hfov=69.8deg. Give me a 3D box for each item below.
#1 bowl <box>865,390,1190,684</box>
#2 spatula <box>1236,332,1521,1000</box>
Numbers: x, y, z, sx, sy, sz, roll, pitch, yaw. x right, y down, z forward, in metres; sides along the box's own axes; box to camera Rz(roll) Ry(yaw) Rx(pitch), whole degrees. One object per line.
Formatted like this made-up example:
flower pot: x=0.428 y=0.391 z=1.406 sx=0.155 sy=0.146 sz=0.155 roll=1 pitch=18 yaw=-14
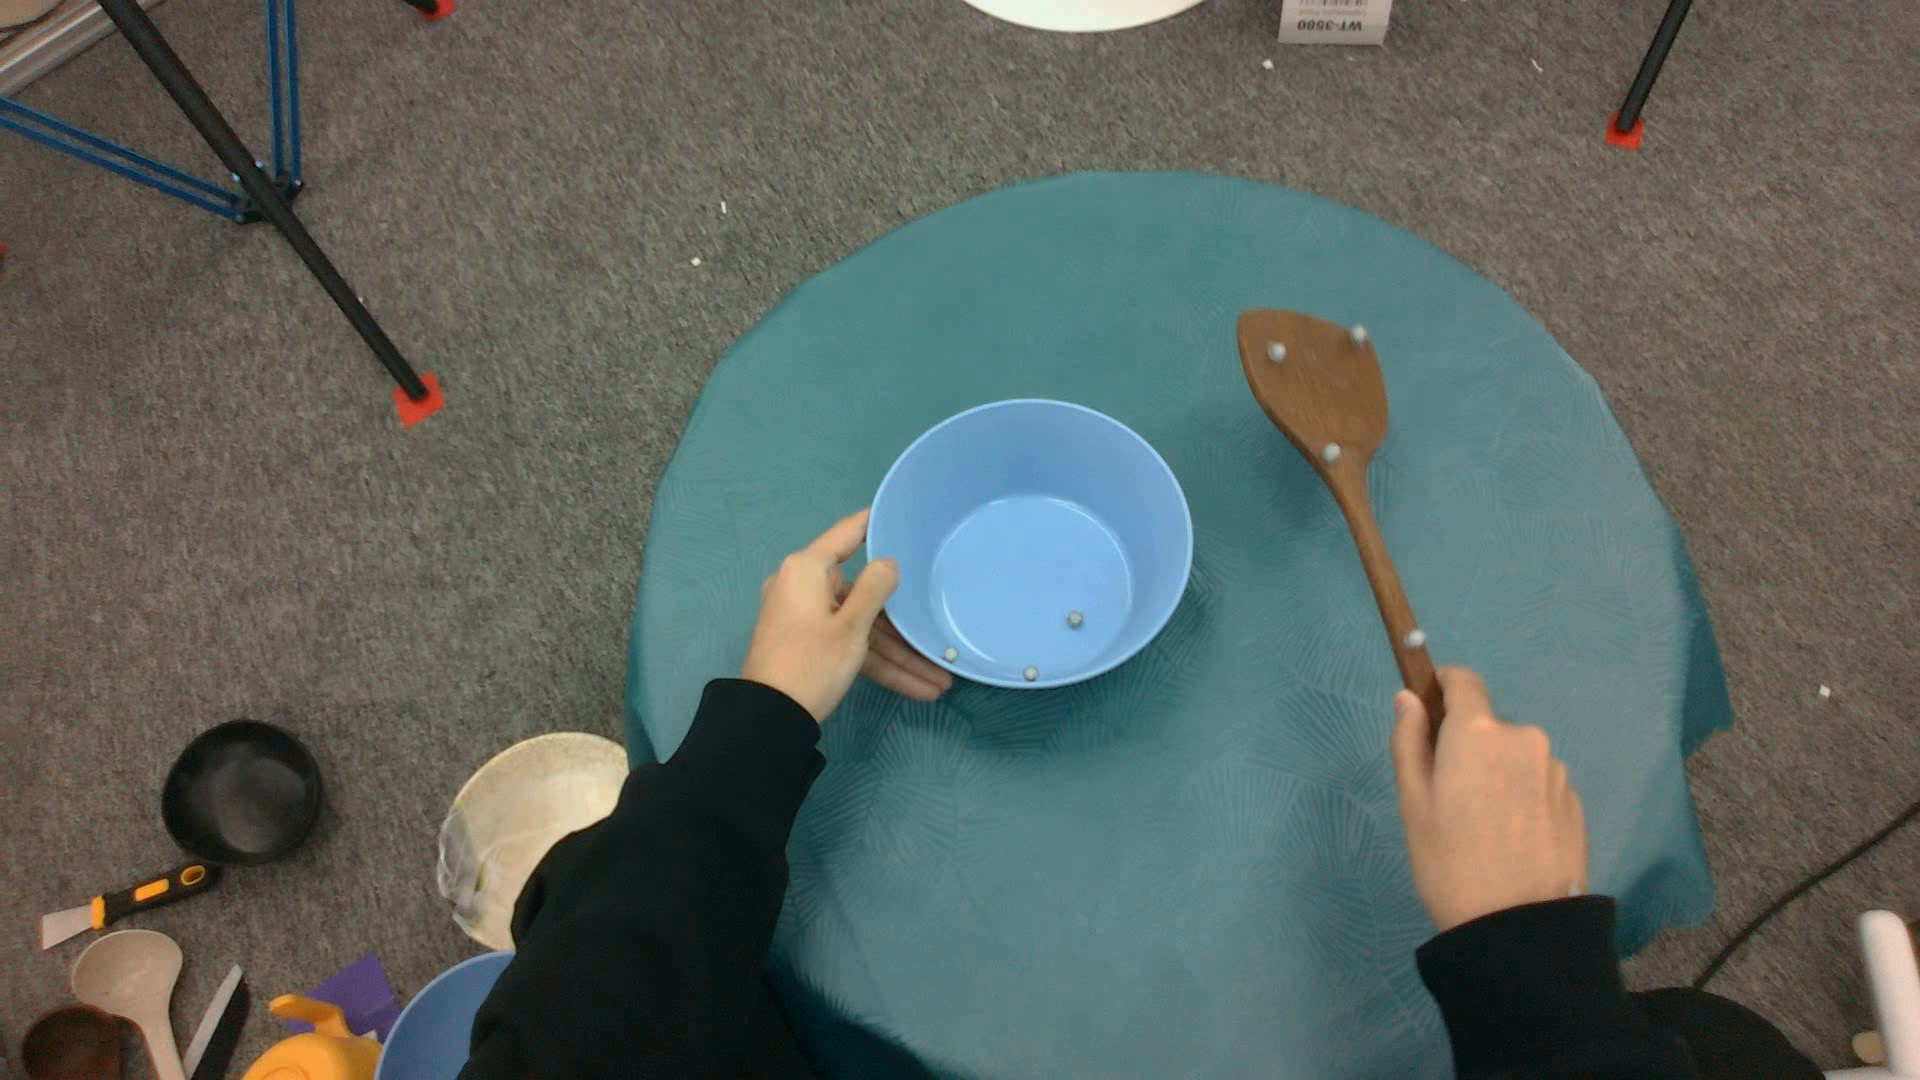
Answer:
bowl: x=0.038 y=0.008 z=0.769 sx=0.176 sy=0.070 sz=0.177 roll=-2 pitch=63 yaw=3
spatula: x=0.217 y=0.039 z=0.704 sx=0.096 sy=0.015 sz=0.387 roll=8 pitch=53 yaw=-21
